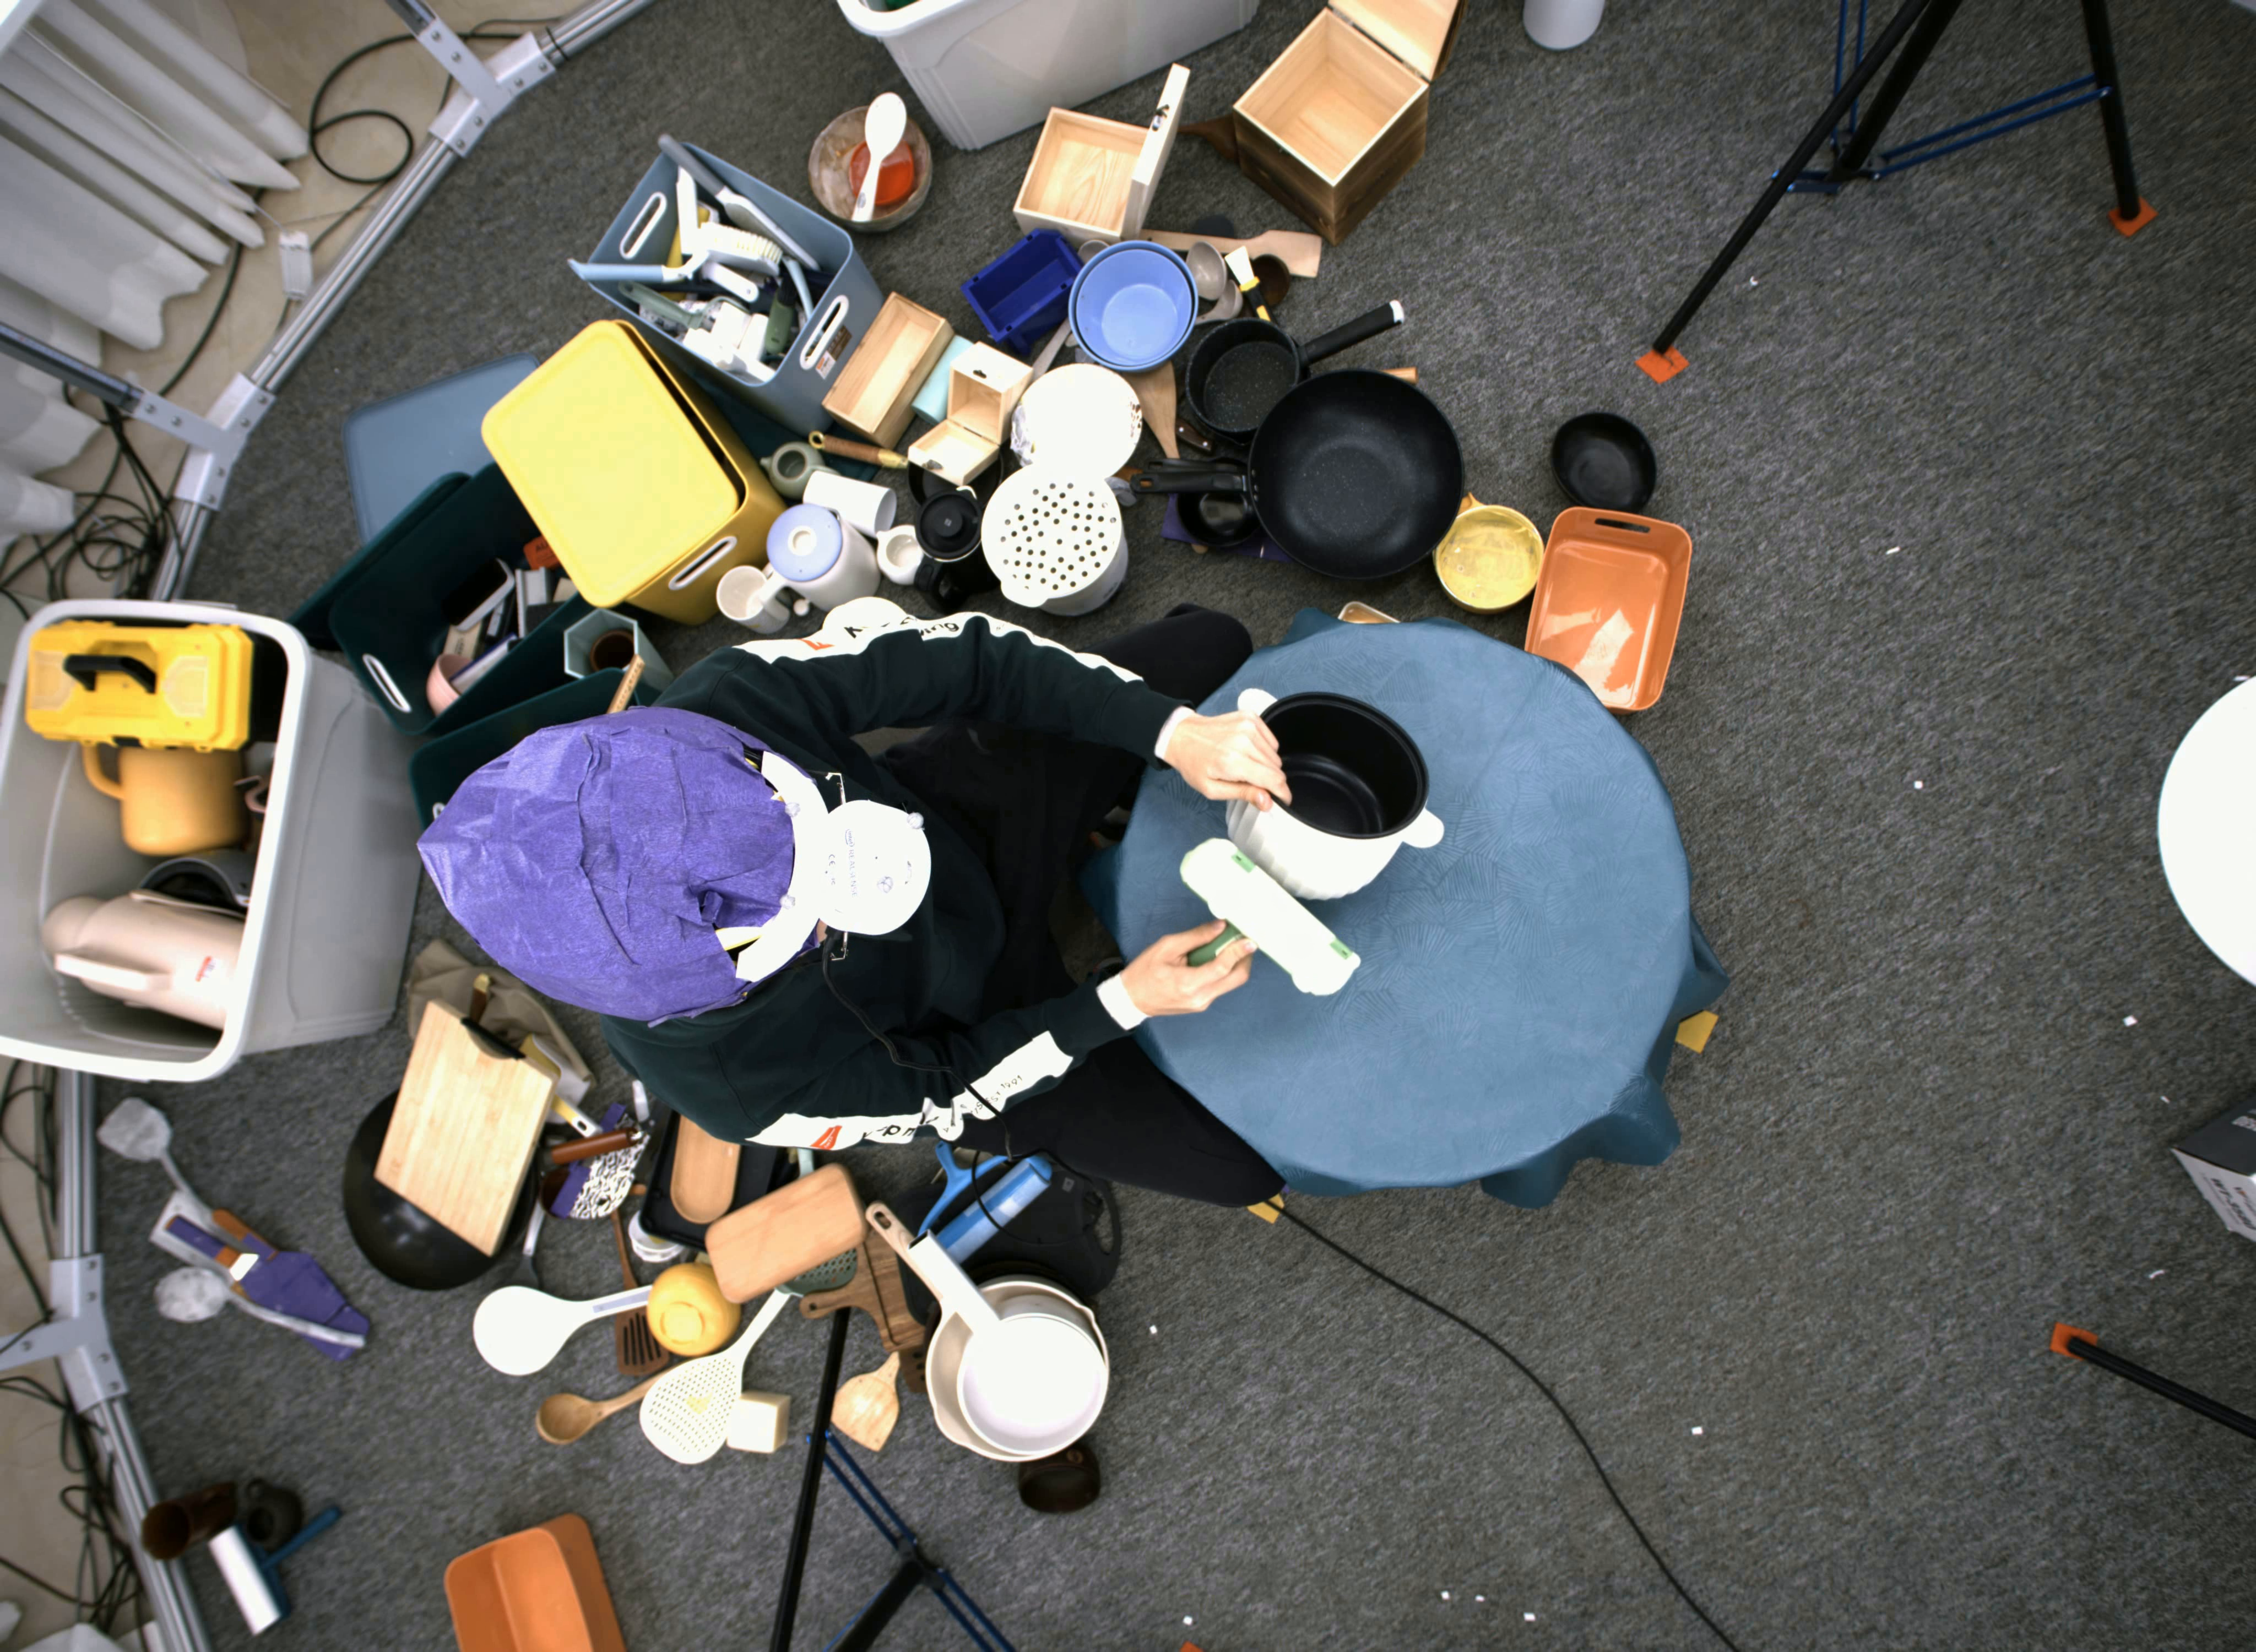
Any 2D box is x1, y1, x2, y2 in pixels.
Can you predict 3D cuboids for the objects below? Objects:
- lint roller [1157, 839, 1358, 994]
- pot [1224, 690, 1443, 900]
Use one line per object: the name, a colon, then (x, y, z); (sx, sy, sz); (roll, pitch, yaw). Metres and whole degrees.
lint roller: (0.095, 0.124, 1.349); (0.200, 0.080, 0.186); (40, 115, -20)
pot: (0.191, -0.027, 1.372); (0.239, 0.146, 0.186); (39, 58, 13)
